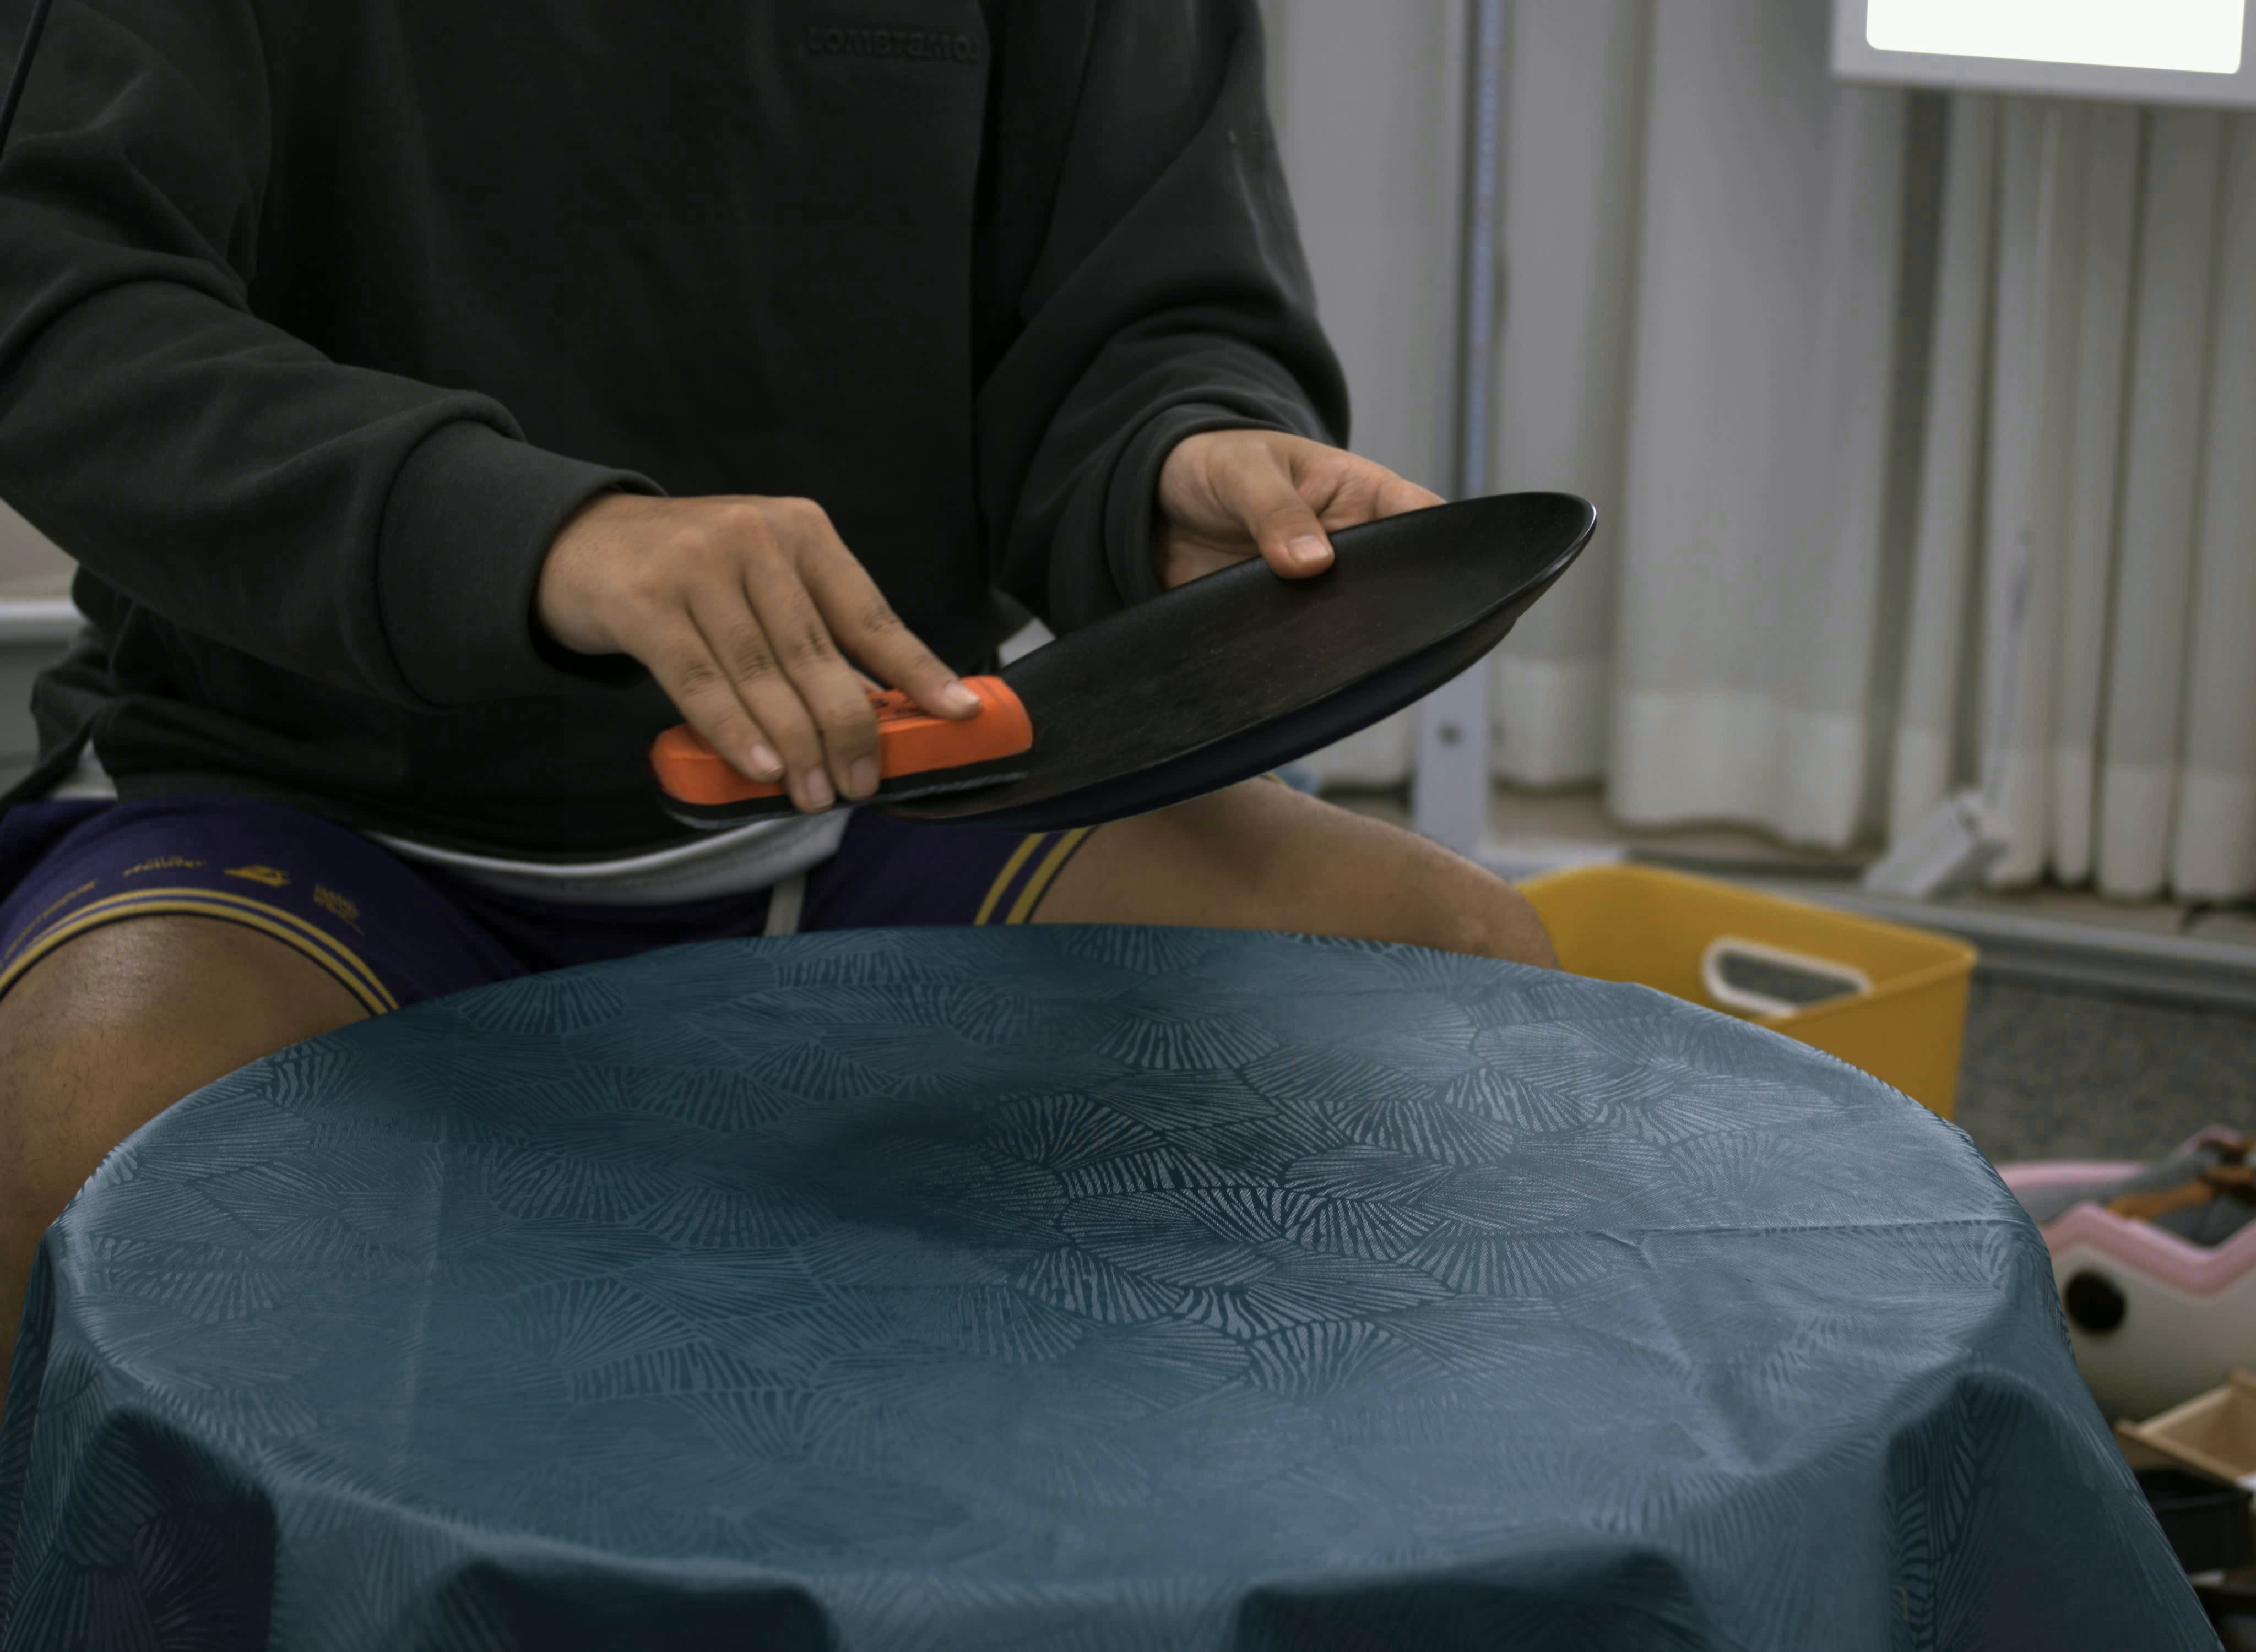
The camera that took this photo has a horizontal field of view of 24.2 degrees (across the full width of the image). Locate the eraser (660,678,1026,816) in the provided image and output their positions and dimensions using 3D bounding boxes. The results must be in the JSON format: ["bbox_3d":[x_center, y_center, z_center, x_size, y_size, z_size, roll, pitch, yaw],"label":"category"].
[{"bbox_3d":[-0.088,-0.025,1.627,0.108,0.023,0.058,-7,14,-12],"label":"eraser"}]

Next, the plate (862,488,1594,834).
[{"bbox_3d":[0.033,-0.046,1.630,0.243,0.023,0.243,-21,13,6],"label":"plate"}]
